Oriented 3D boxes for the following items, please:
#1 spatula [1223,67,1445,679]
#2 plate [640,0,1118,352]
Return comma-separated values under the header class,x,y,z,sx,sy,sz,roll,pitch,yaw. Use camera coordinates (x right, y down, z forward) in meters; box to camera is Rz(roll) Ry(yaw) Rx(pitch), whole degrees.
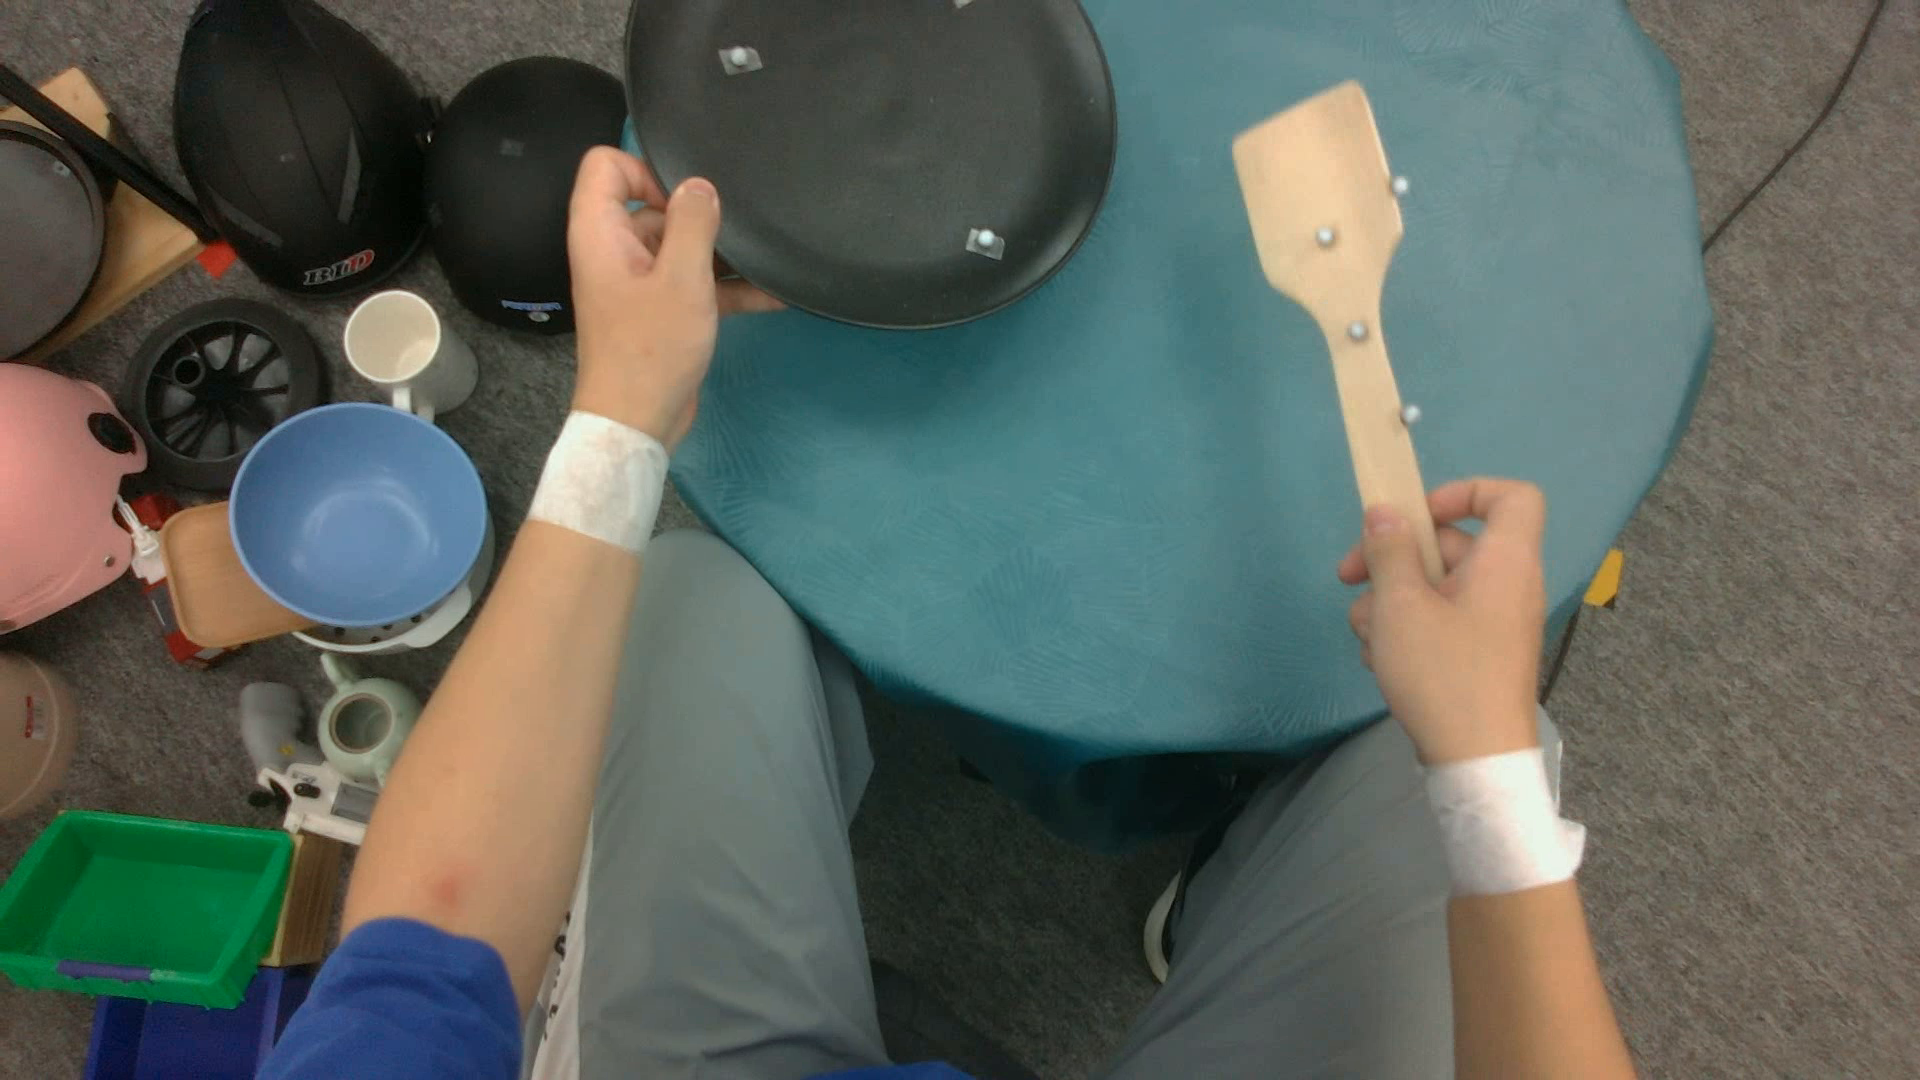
class,x,y,z,sx,sy,sz,roll,pitch,yaw
spatula,0.183,-0.080,0.643,0.072,0.010,0.293,-18,73,34
plate,-0.037,-0.208,0.696,0.244,0.023,0.245,3,76,-14
